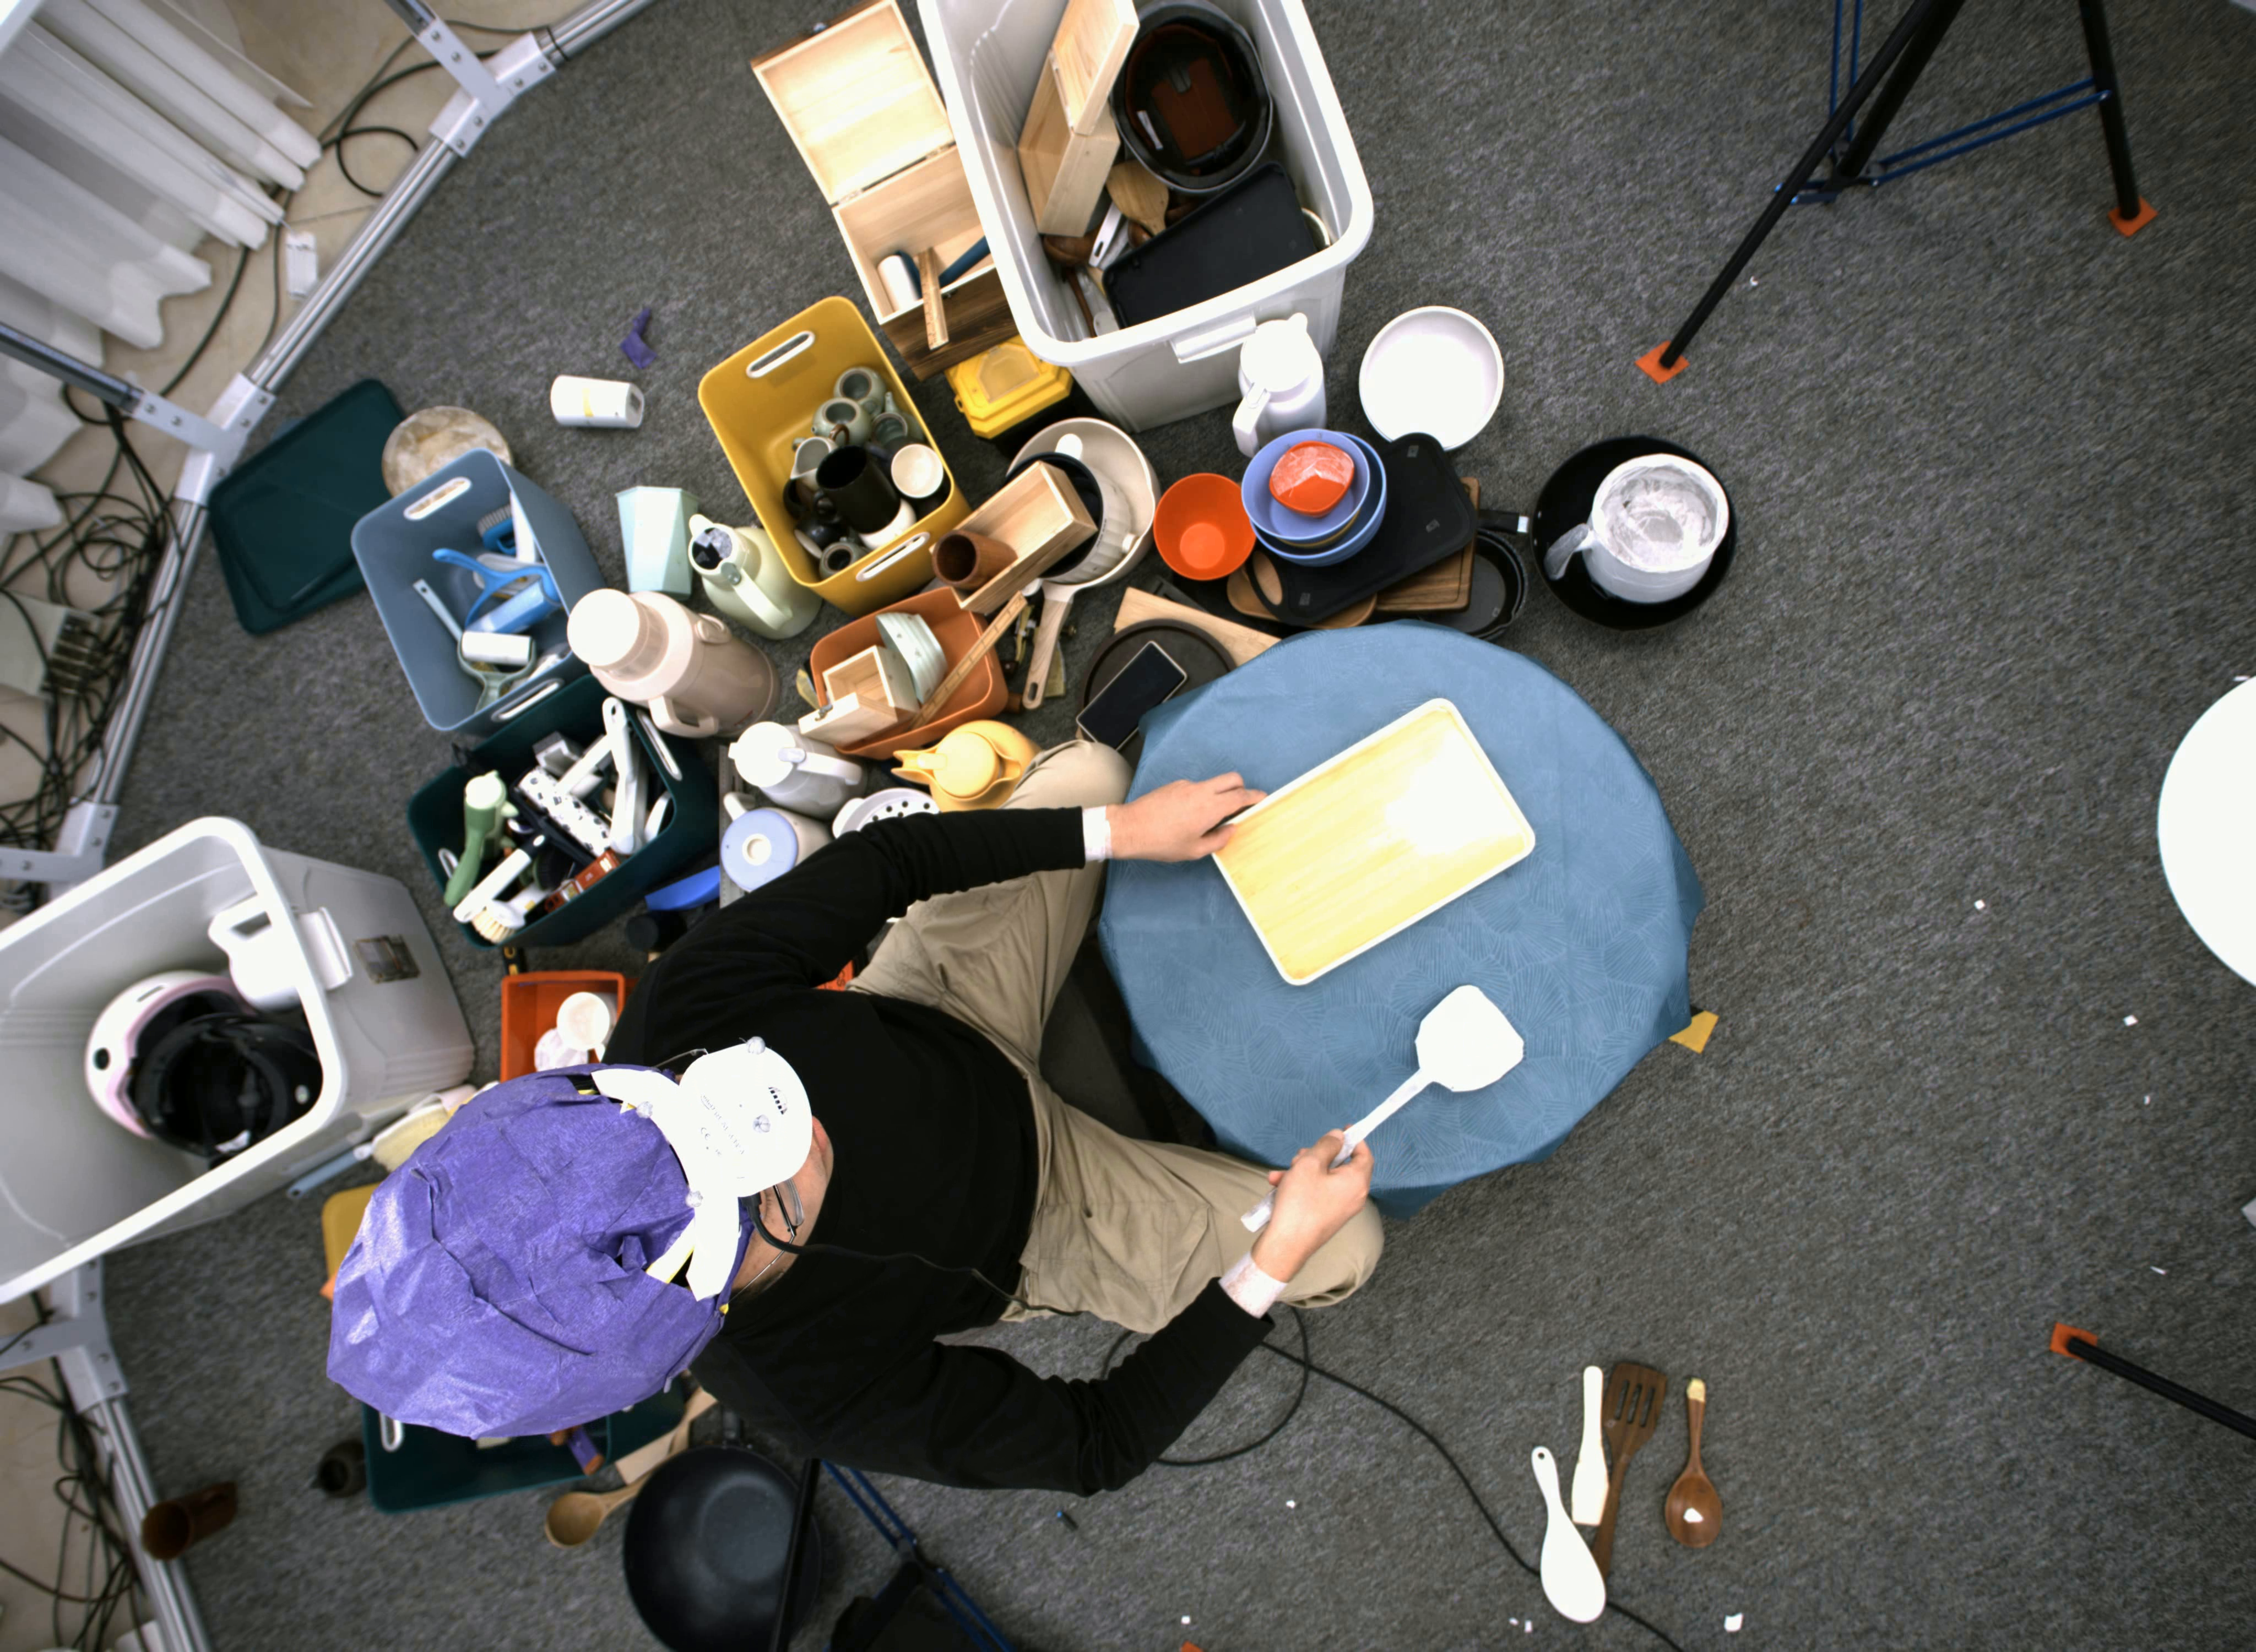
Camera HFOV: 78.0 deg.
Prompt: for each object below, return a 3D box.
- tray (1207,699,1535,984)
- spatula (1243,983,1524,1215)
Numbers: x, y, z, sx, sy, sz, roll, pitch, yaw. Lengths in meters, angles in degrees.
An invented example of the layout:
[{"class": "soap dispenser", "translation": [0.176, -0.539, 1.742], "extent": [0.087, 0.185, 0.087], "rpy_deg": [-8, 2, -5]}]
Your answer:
[{"class": "tray", "translation": [0.253, 0.015, 1.453], "extent": [0.302, 0.027, 0.190], "rpy_deg": [-31, 82, 8]}, {"class": "spatula", "translation": [0.251, 0.274, 1.351], "extent": [0.358, 0.046, 0.098], "rpy_deg": [-30, 76, -32]}]
